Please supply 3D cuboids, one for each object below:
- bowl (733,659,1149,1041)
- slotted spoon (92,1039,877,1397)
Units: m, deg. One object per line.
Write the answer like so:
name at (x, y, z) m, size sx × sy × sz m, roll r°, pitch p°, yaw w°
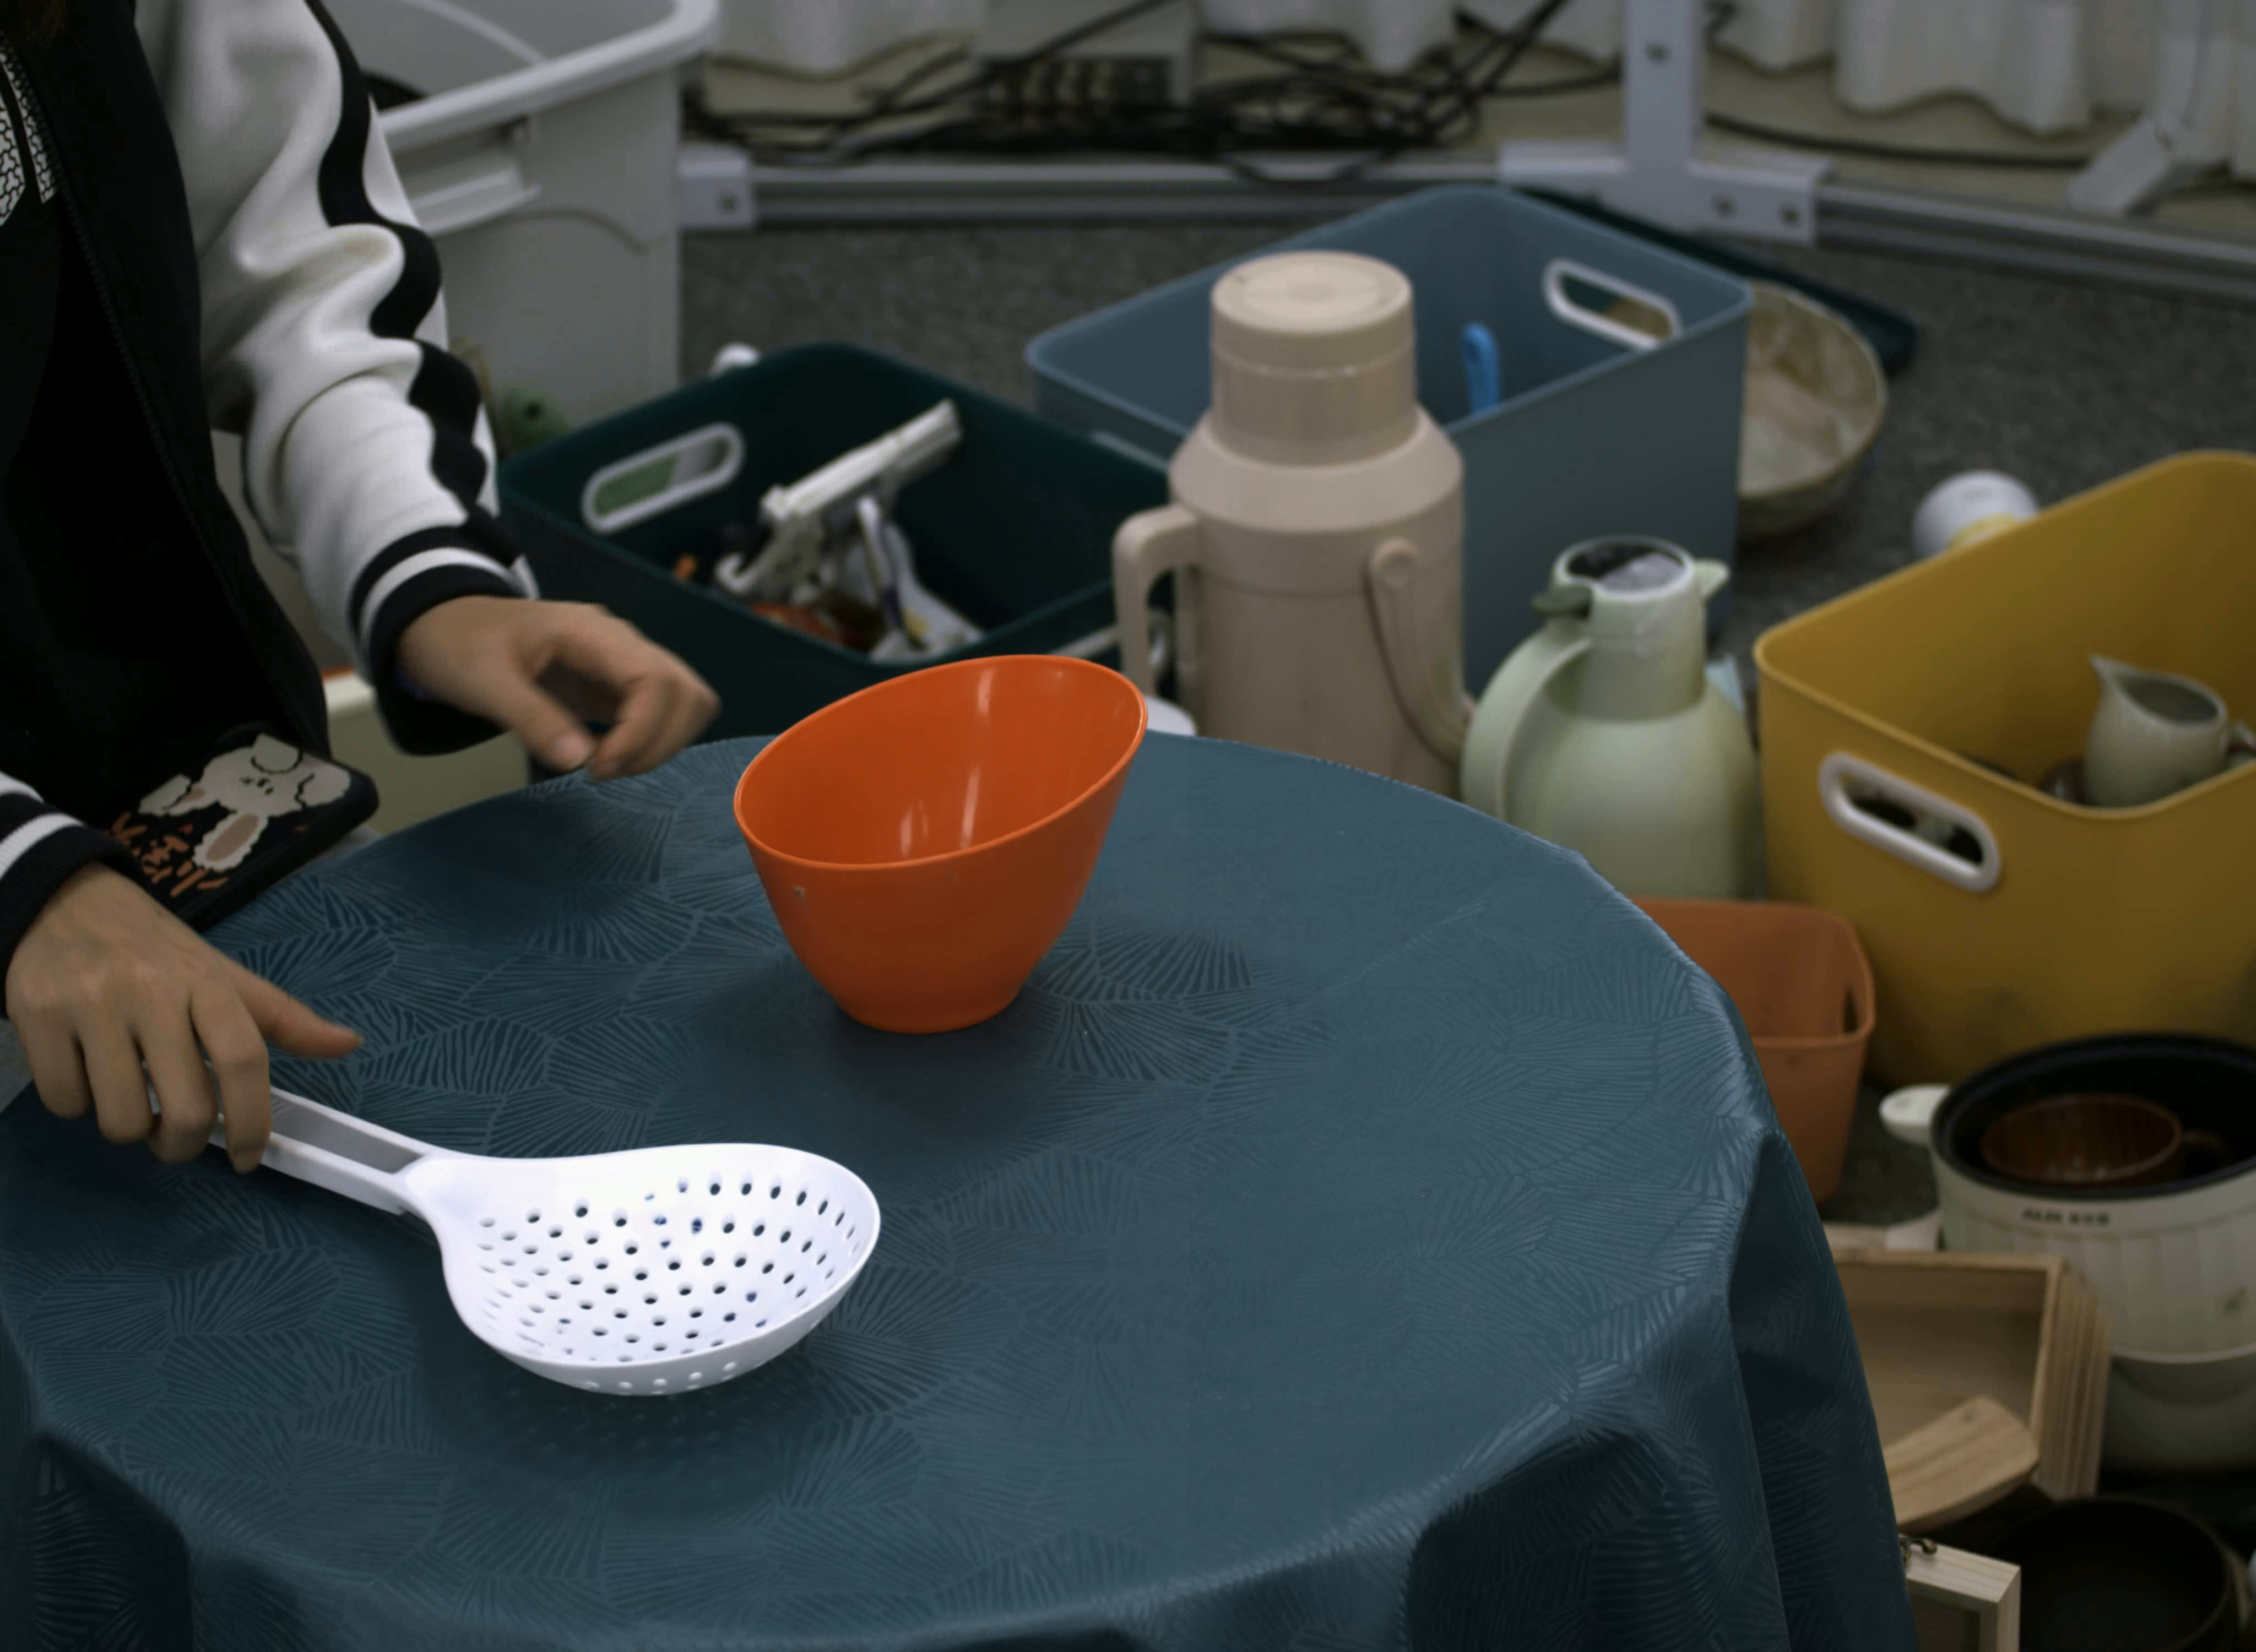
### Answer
bowl at (-0.062, 0.014, 1.968) m, size 0.147 × 0.103 × 0.150 m, roll -3°, pitch 28°, yaw 2°
slotted spoon at (-0.224, 0.120, 1.838) m, size 0.349 × 0.045 × 0.138 m, roll 20°, pitch 36°, yaw 38°
